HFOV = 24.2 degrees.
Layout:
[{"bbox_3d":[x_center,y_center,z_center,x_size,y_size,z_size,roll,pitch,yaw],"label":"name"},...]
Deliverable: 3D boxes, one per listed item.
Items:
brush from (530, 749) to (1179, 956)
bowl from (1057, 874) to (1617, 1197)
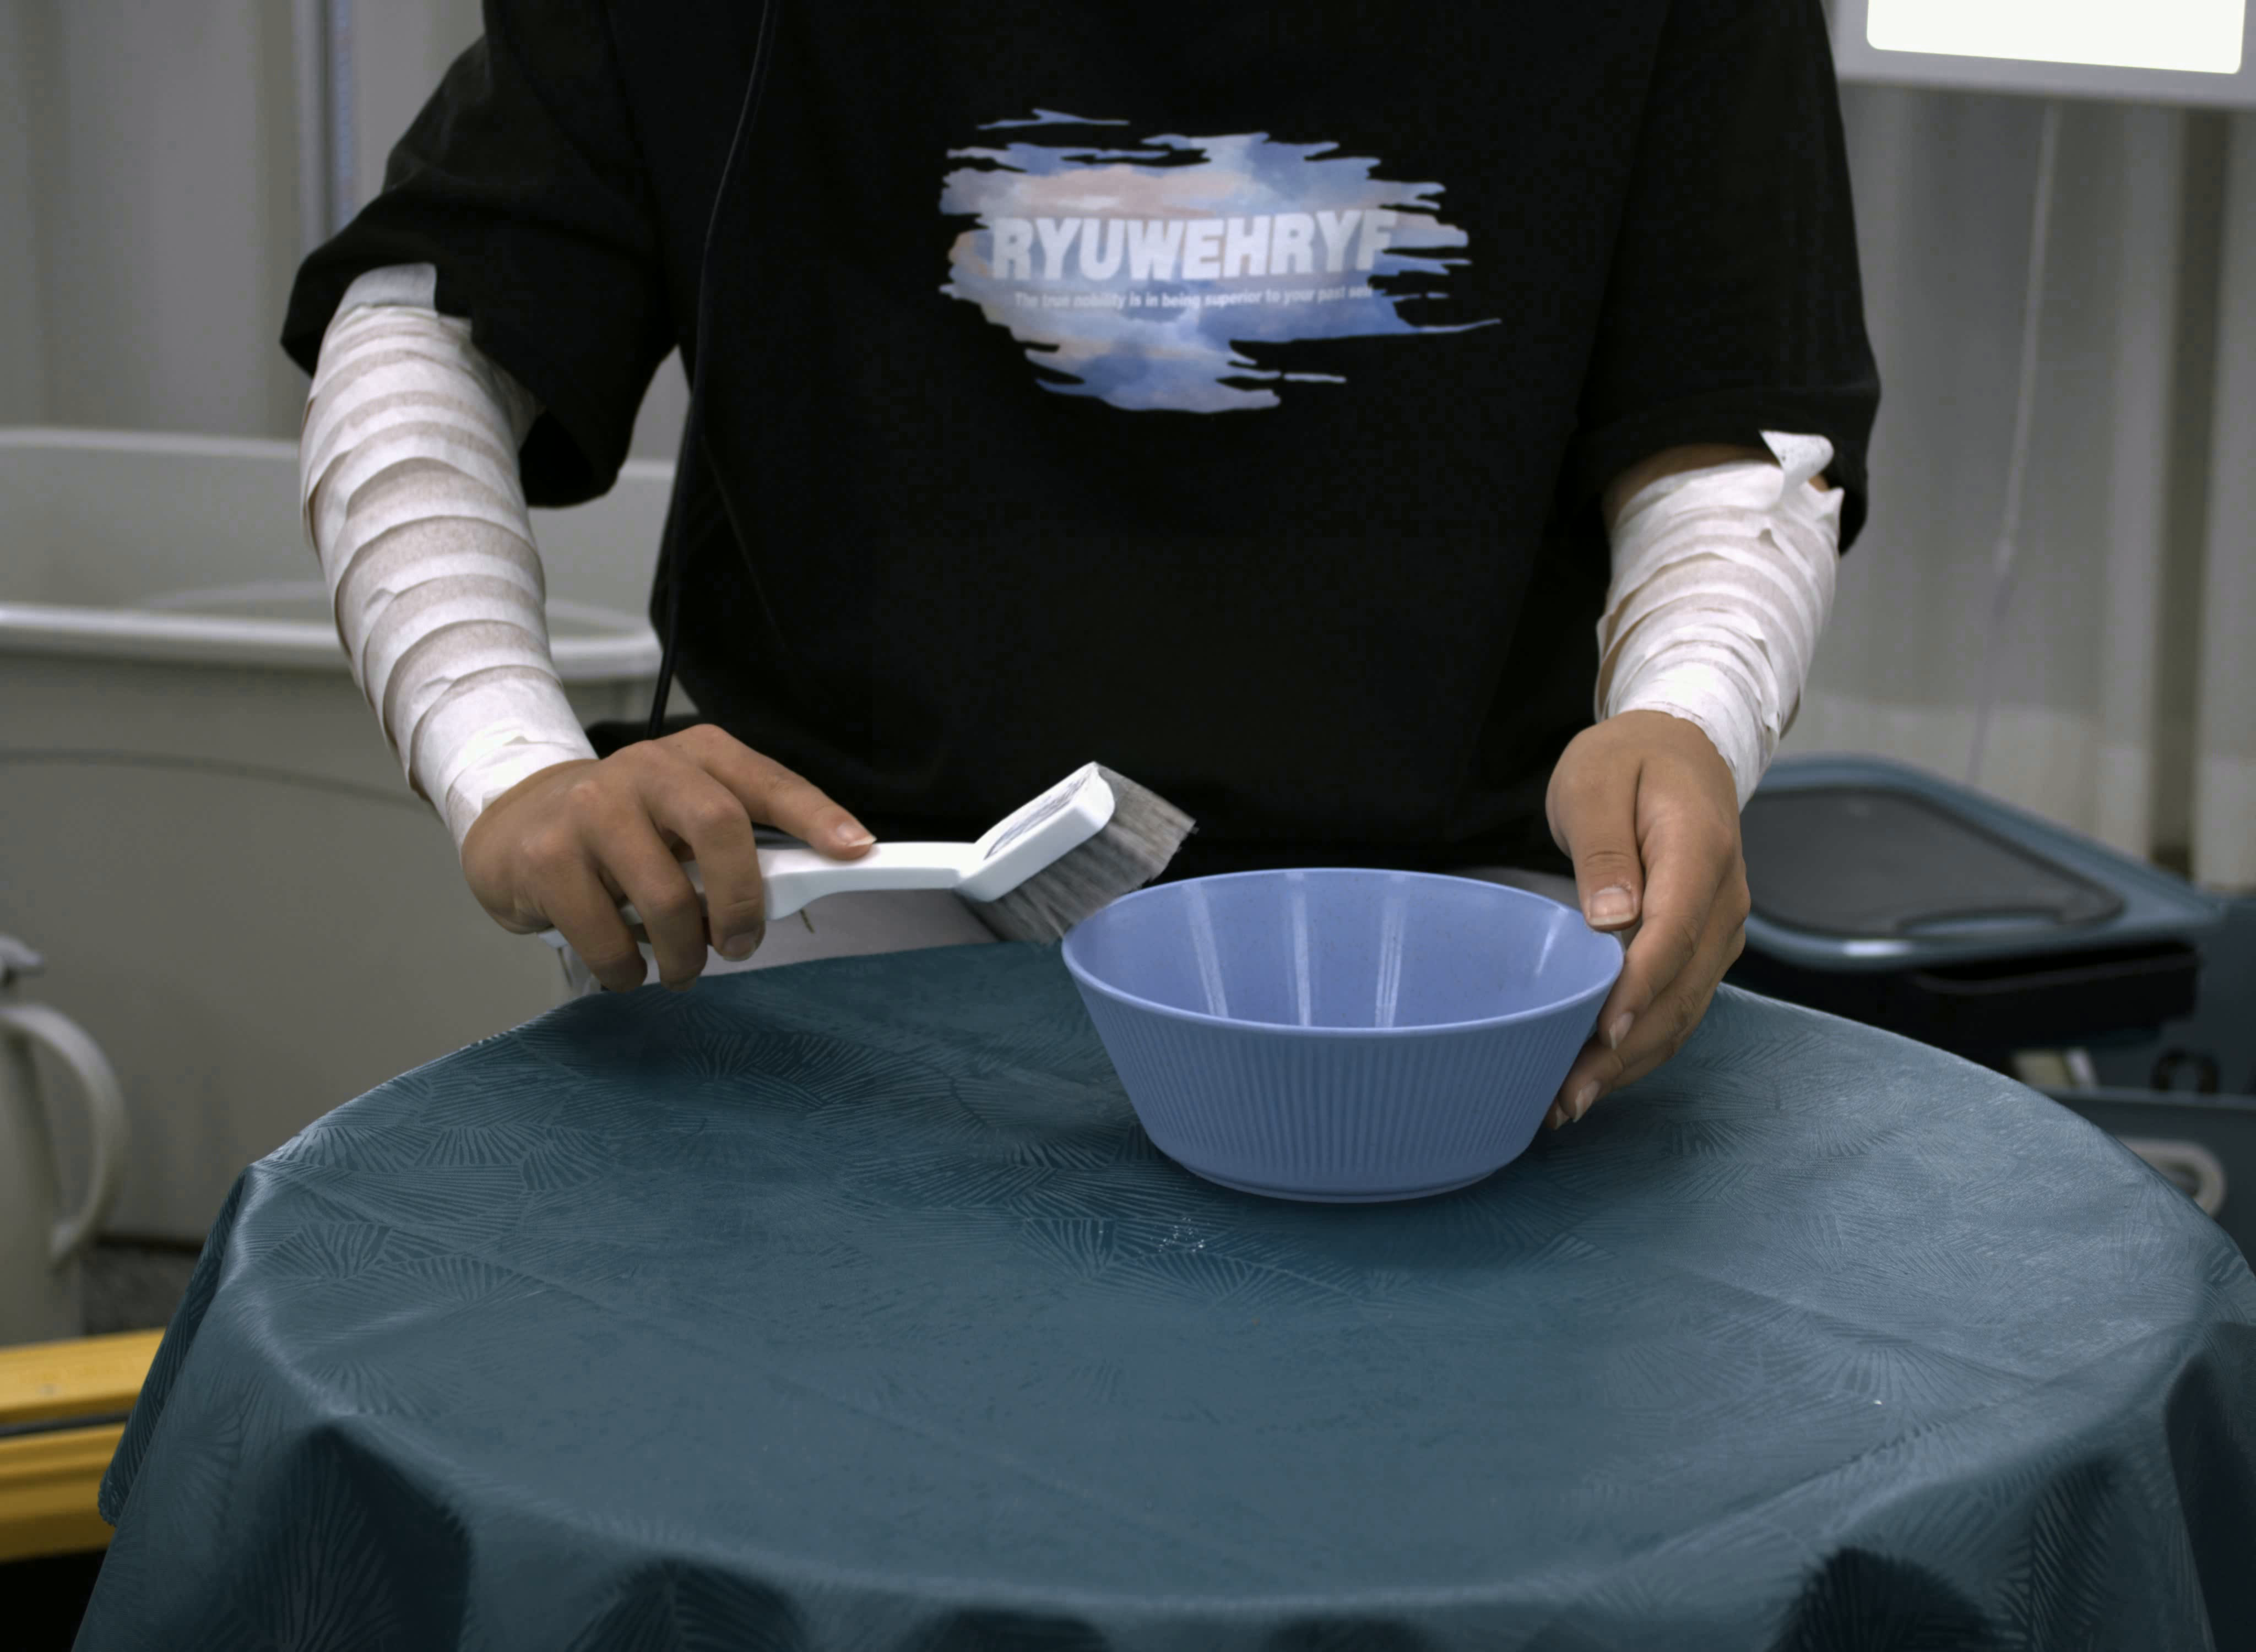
[{"bbox_3d":[-0.090,0.026,1.699,0.242,0.051,0.034,-15,28,32],"label":"brush"},{"bbox_3d":[0.064,0.068,1.655,0.175,0.071,0.175,1,15,0],"label":"bowl"}]
